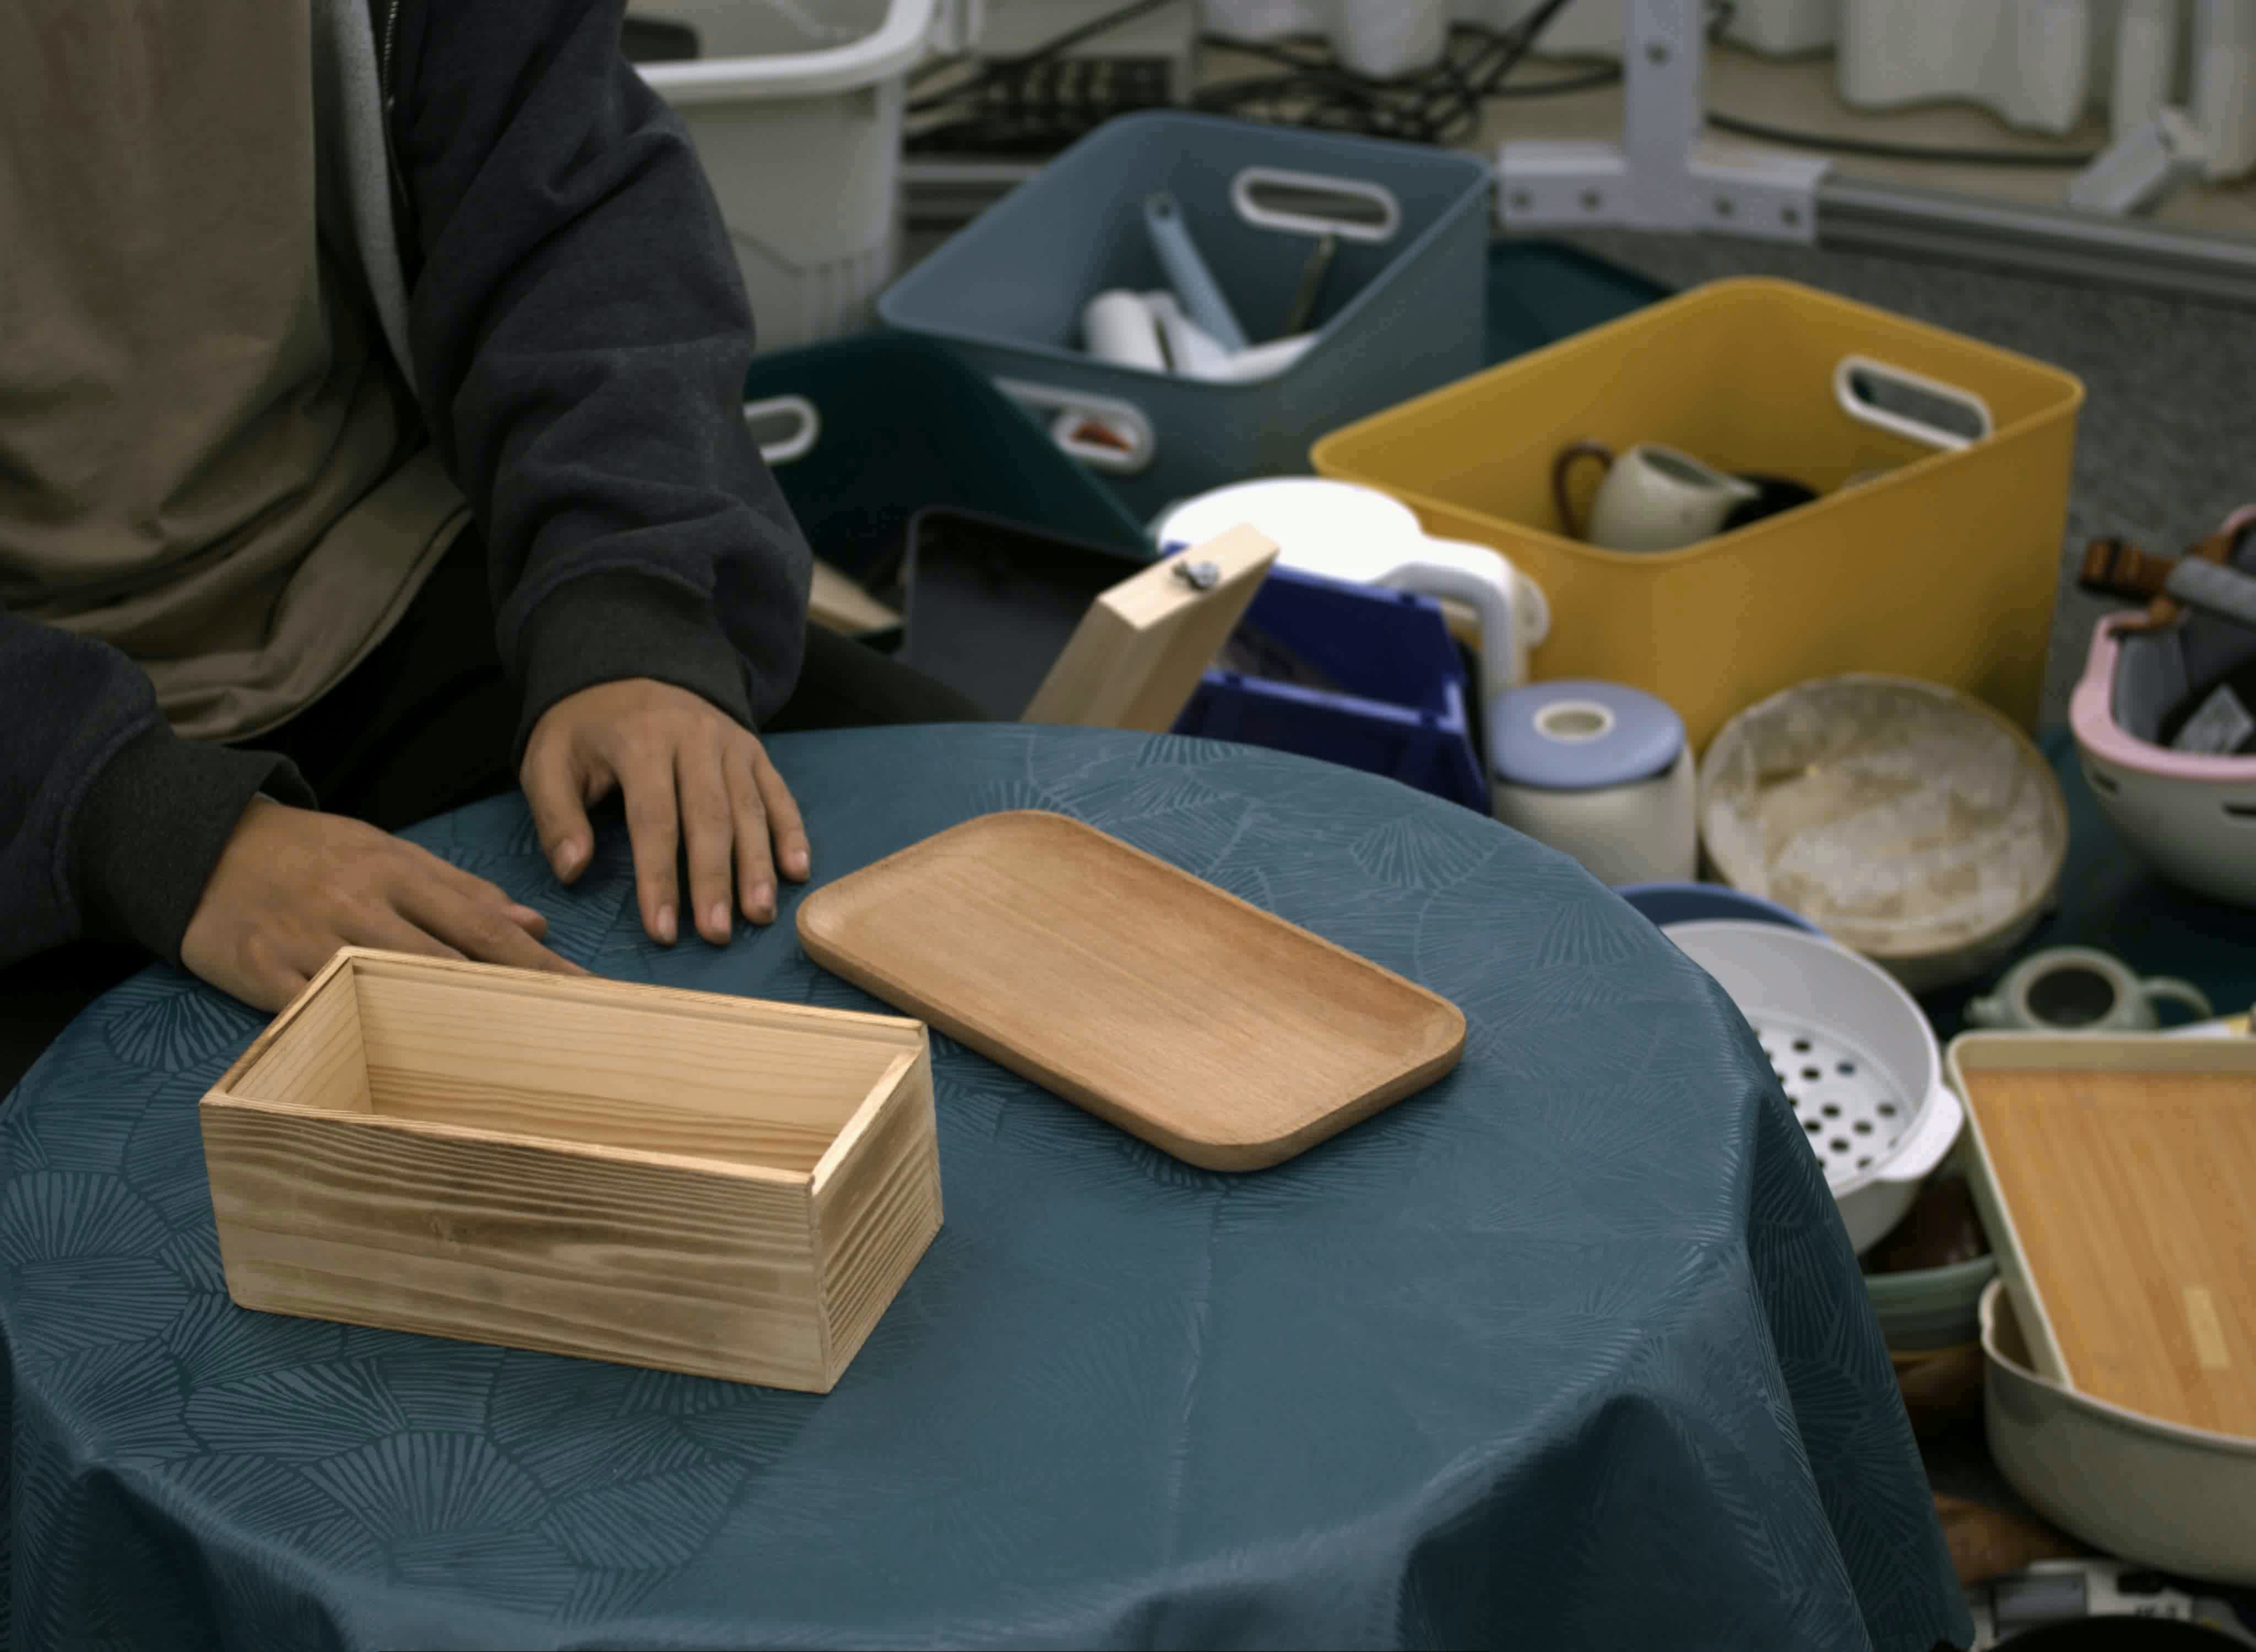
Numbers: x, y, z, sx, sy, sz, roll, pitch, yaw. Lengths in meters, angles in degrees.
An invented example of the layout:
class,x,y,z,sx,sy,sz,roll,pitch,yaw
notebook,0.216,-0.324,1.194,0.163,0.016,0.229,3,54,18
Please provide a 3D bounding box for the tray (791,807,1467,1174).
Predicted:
class,x,y,z,sx,sy,sz,roll,pitch,yaw
tray,-0.002,0.056,1.971,0.132,0.022,0.250,-21,32,-36

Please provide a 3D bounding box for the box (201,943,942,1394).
class,x,y,z,sx,sy,sz,roll,pitch,yaw
box,-0.179,0.109,1.819,0.210,0.079,0.109,6,28,18
